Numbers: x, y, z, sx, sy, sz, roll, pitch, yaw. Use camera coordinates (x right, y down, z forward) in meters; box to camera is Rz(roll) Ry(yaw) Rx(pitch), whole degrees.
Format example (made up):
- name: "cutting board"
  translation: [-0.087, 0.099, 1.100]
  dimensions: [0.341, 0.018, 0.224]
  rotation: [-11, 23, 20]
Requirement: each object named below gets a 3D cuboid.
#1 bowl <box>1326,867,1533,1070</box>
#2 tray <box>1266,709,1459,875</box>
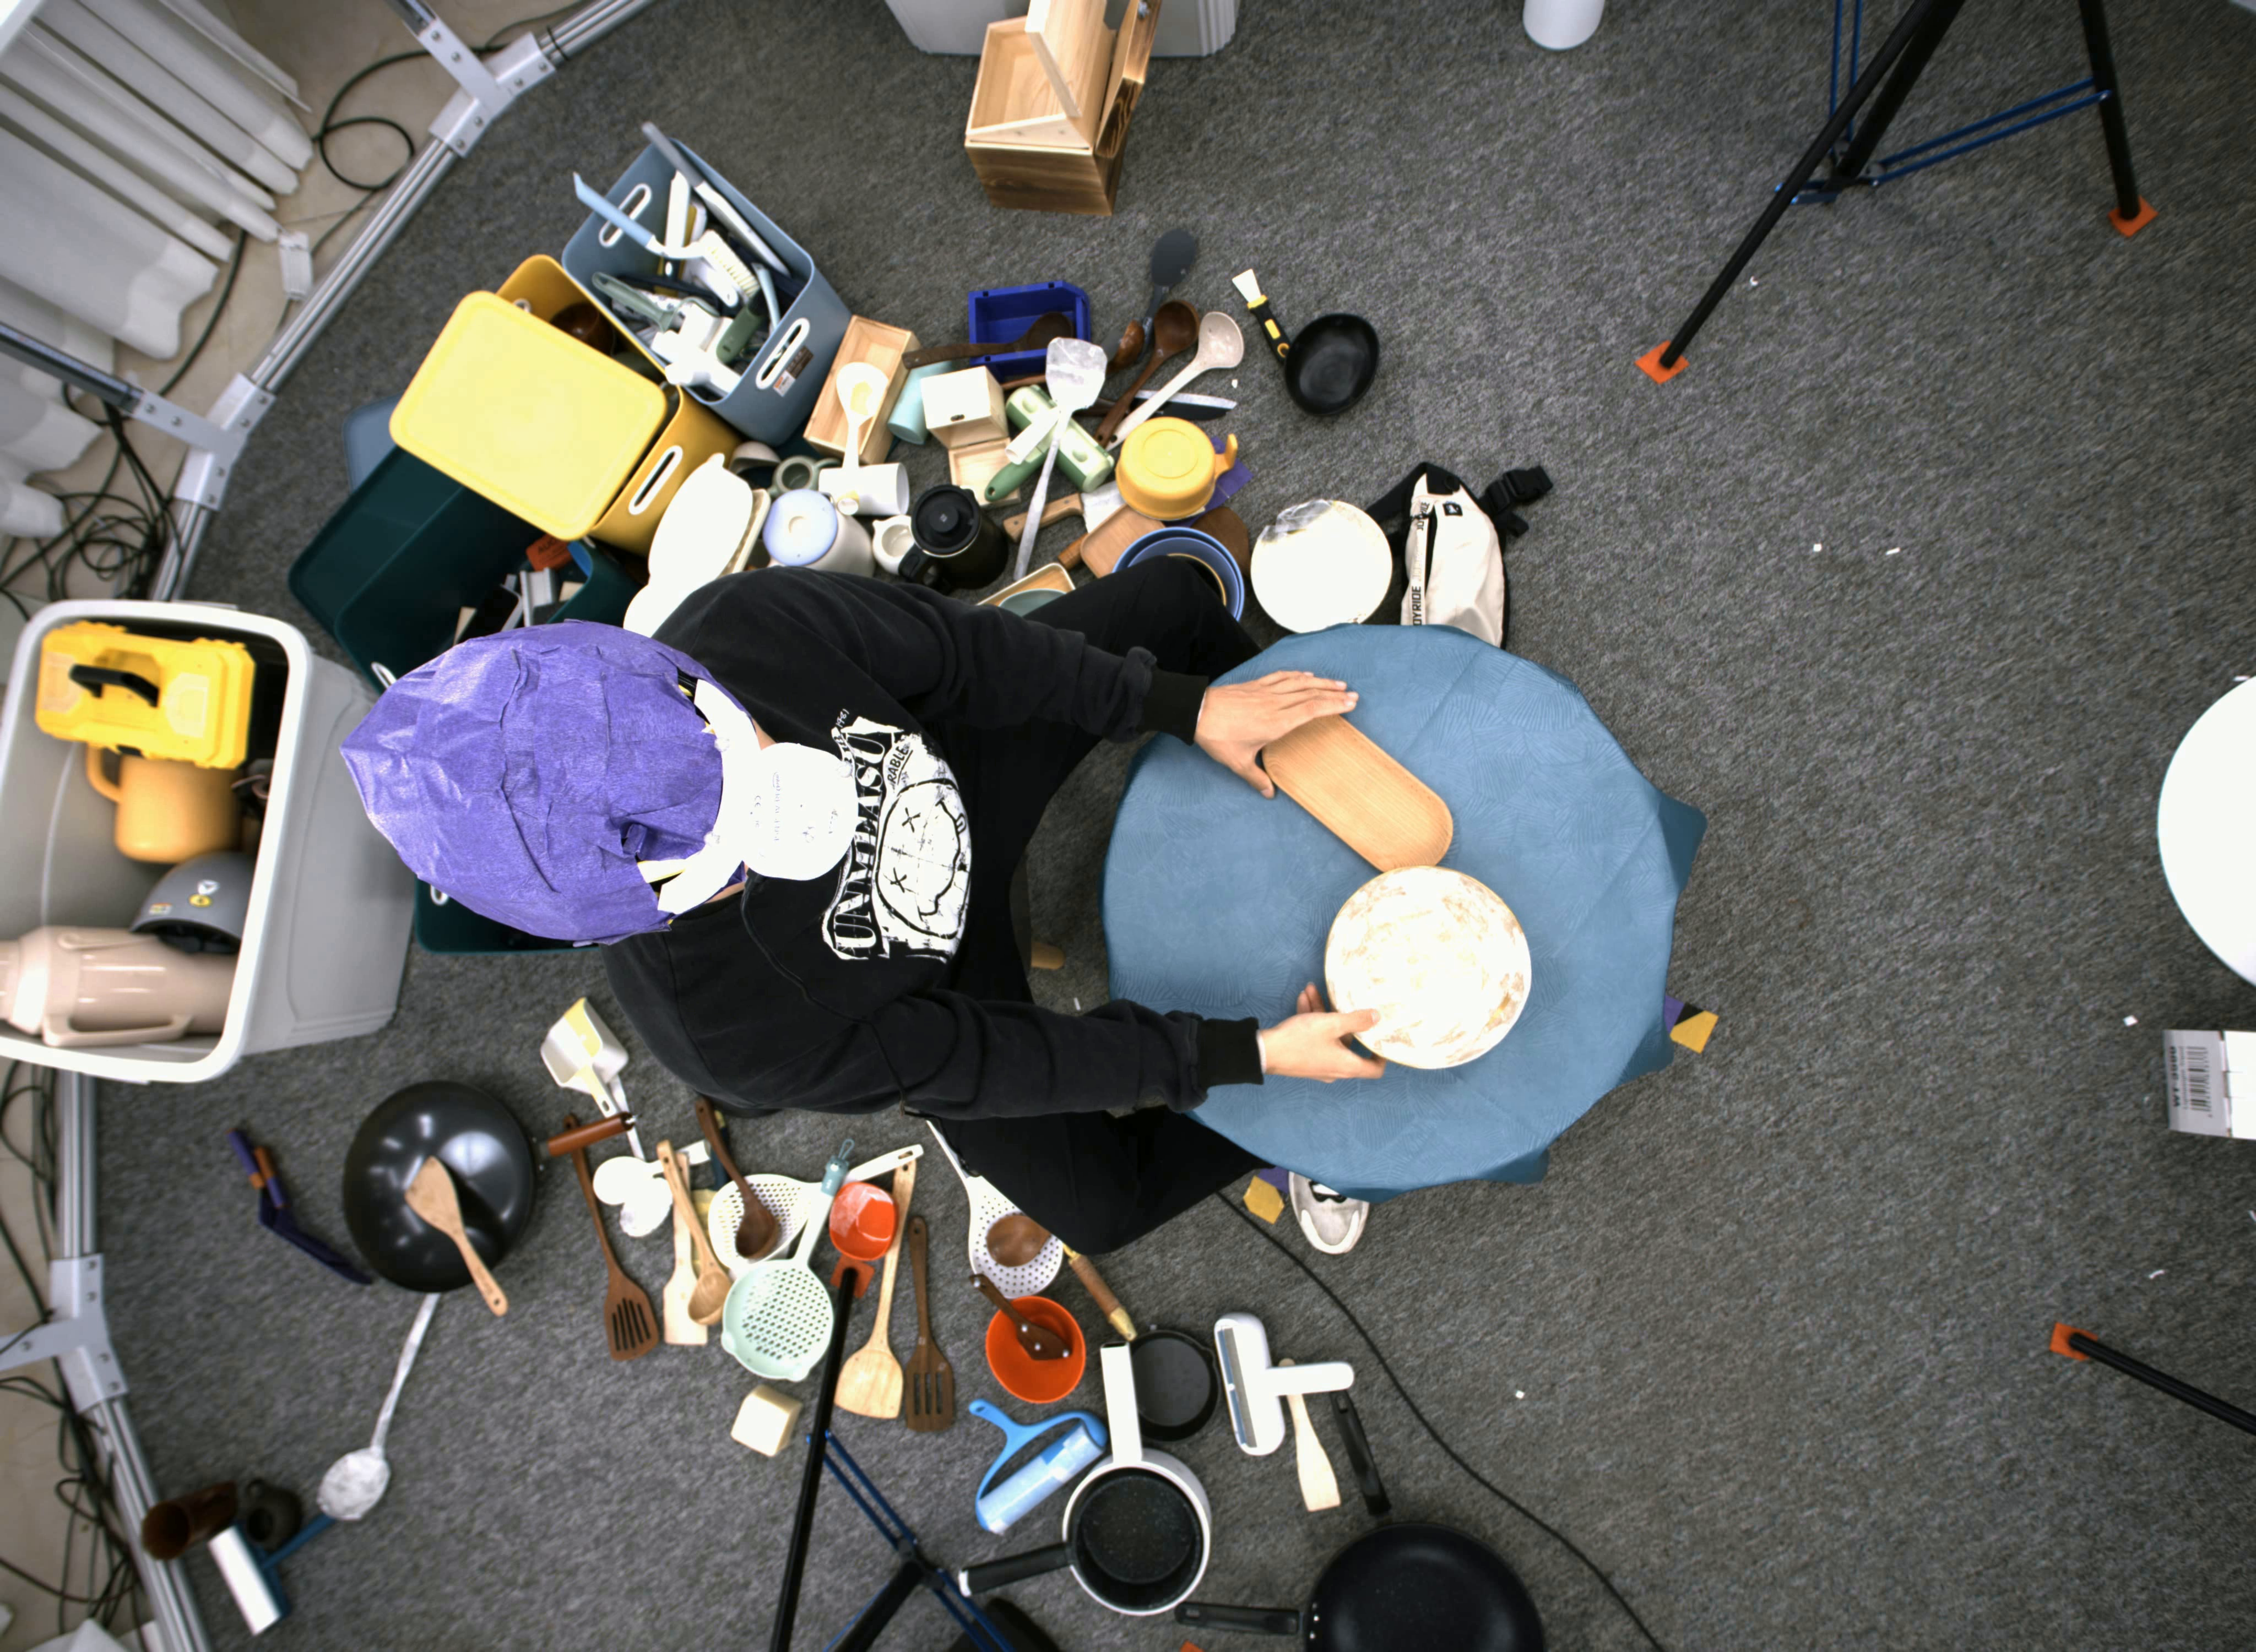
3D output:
- name: "bowl"
  translation: [0.302, 0.141, 1.407]
  dimensions: [0.215, 0.095, 0.213]
  rotation: [-1, 85, 11]
- name: "tray"
  translation: [0.248, -0.035, 1.468]
  dimensions: [0.230, 0.020, 0.102]
  rotation: [39, 96, 9]
